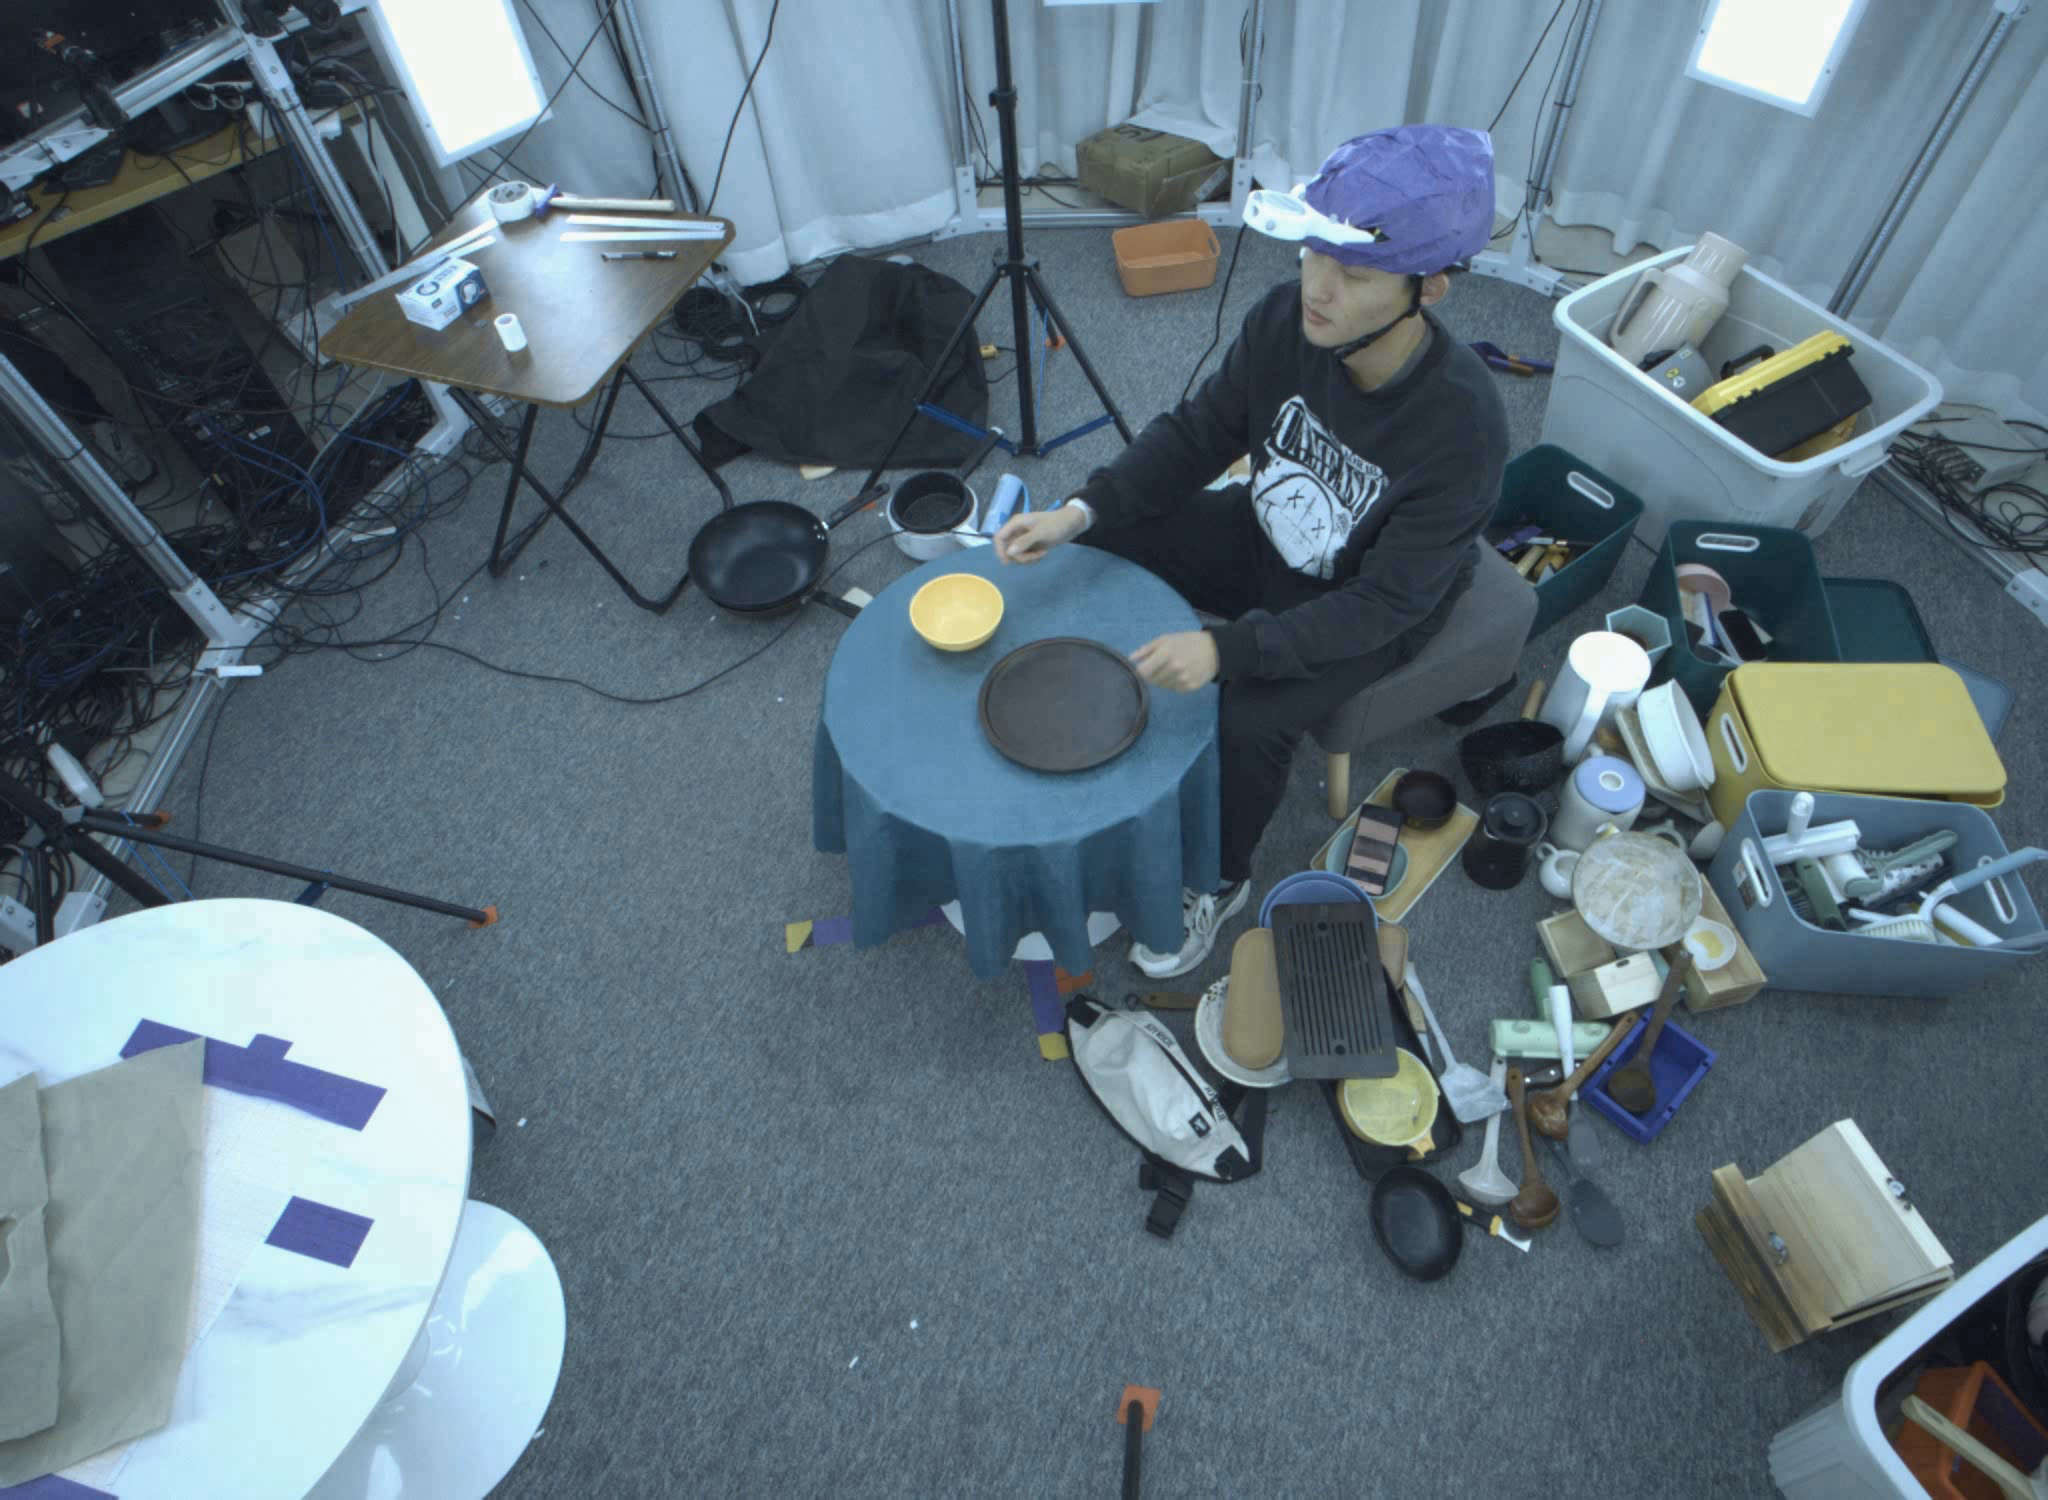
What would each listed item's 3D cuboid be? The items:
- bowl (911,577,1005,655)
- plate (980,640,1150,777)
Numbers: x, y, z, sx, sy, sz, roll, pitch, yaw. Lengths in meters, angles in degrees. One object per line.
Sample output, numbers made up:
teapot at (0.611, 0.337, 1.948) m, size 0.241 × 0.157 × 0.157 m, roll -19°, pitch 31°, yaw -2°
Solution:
bowl at (-0.101, -0.196, 1.905) m, size 0.145 × 0.060 × 0.144 m, roll 1°, pitch 55°, yaw 0°
plate at (0.061, -0.062, 1.826) m, size 0.254 × 0.029 × 0.252 m, roll 0°, pitch 53°, yaw 2°
